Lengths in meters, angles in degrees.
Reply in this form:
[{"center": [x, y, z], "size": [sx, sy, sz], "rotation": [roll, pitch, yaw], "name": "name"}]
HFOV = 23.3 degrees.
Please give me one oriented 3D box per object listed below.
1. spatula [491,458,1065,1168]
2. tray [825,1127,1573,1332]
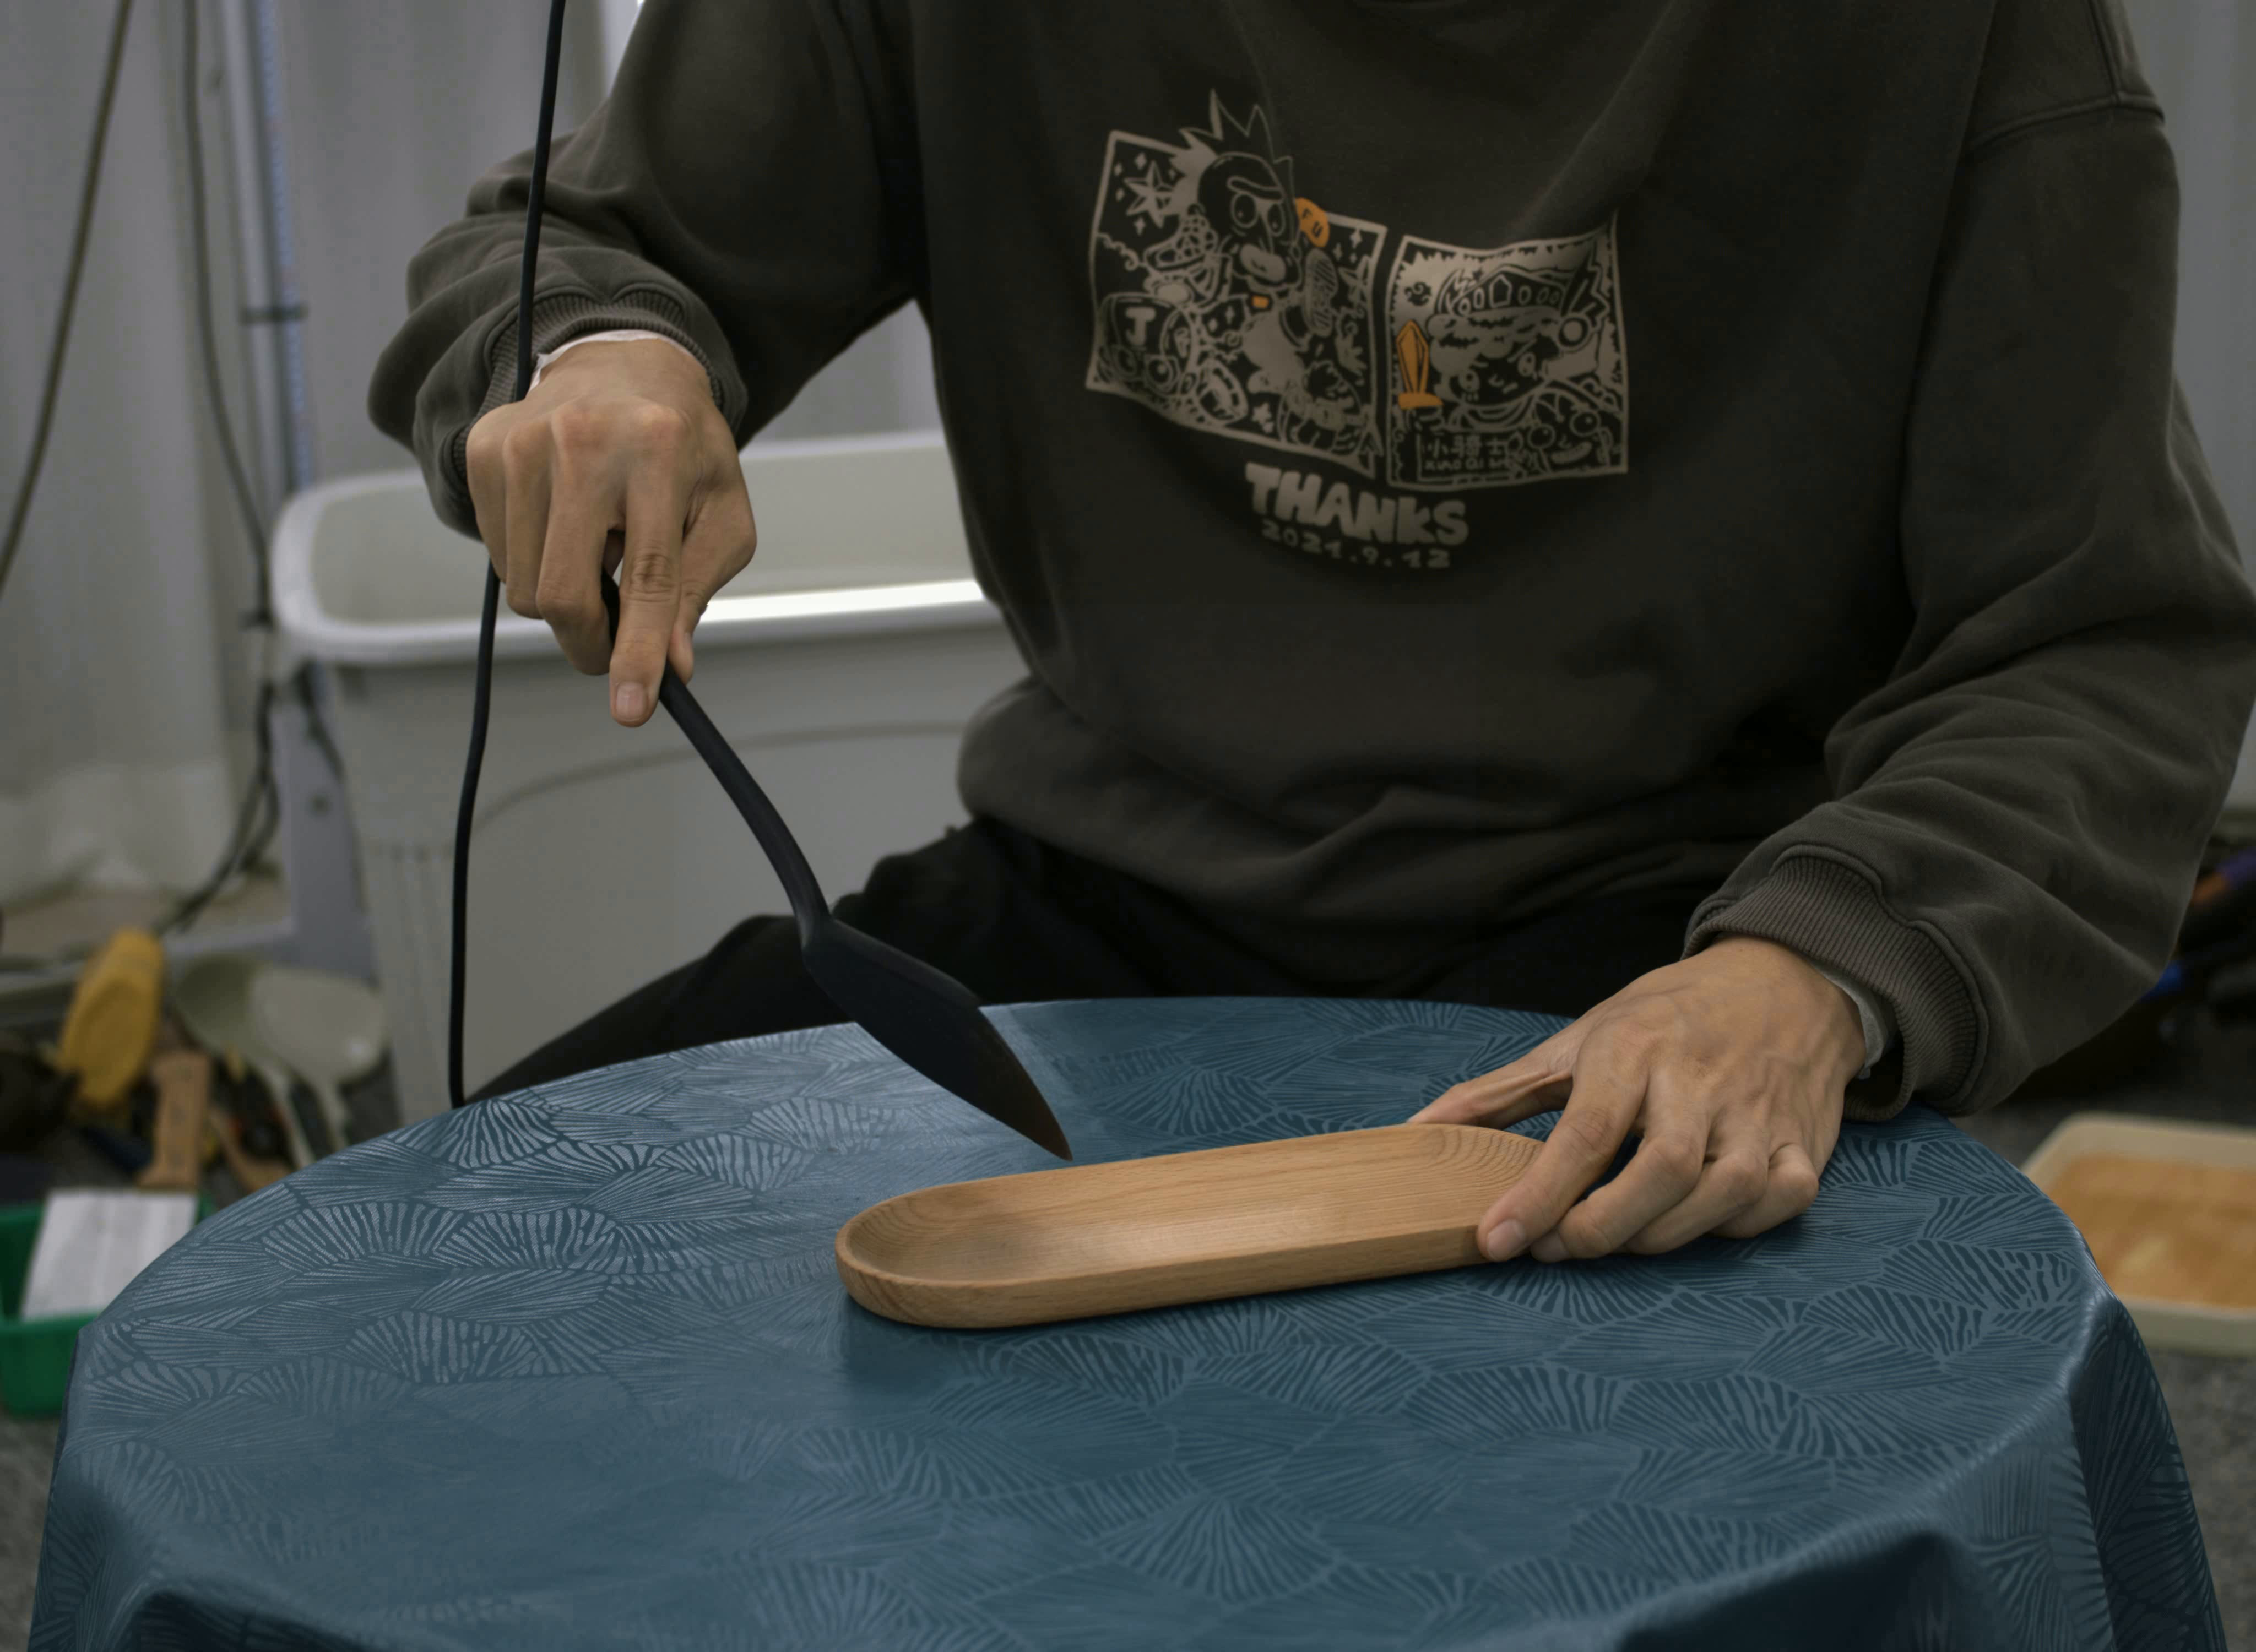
[{"center": [-0.118, -0.017, 1.698], "size": [0.040, 0.098, 0.331], "rotation": [-31, 54, -5], "name": "spatula"}, {"center": [0.023, 0.122, 1.659], "size": [0.230, 0.020, 0.102], "rotation": [-8, 14, -12], "name": "tray"}]
